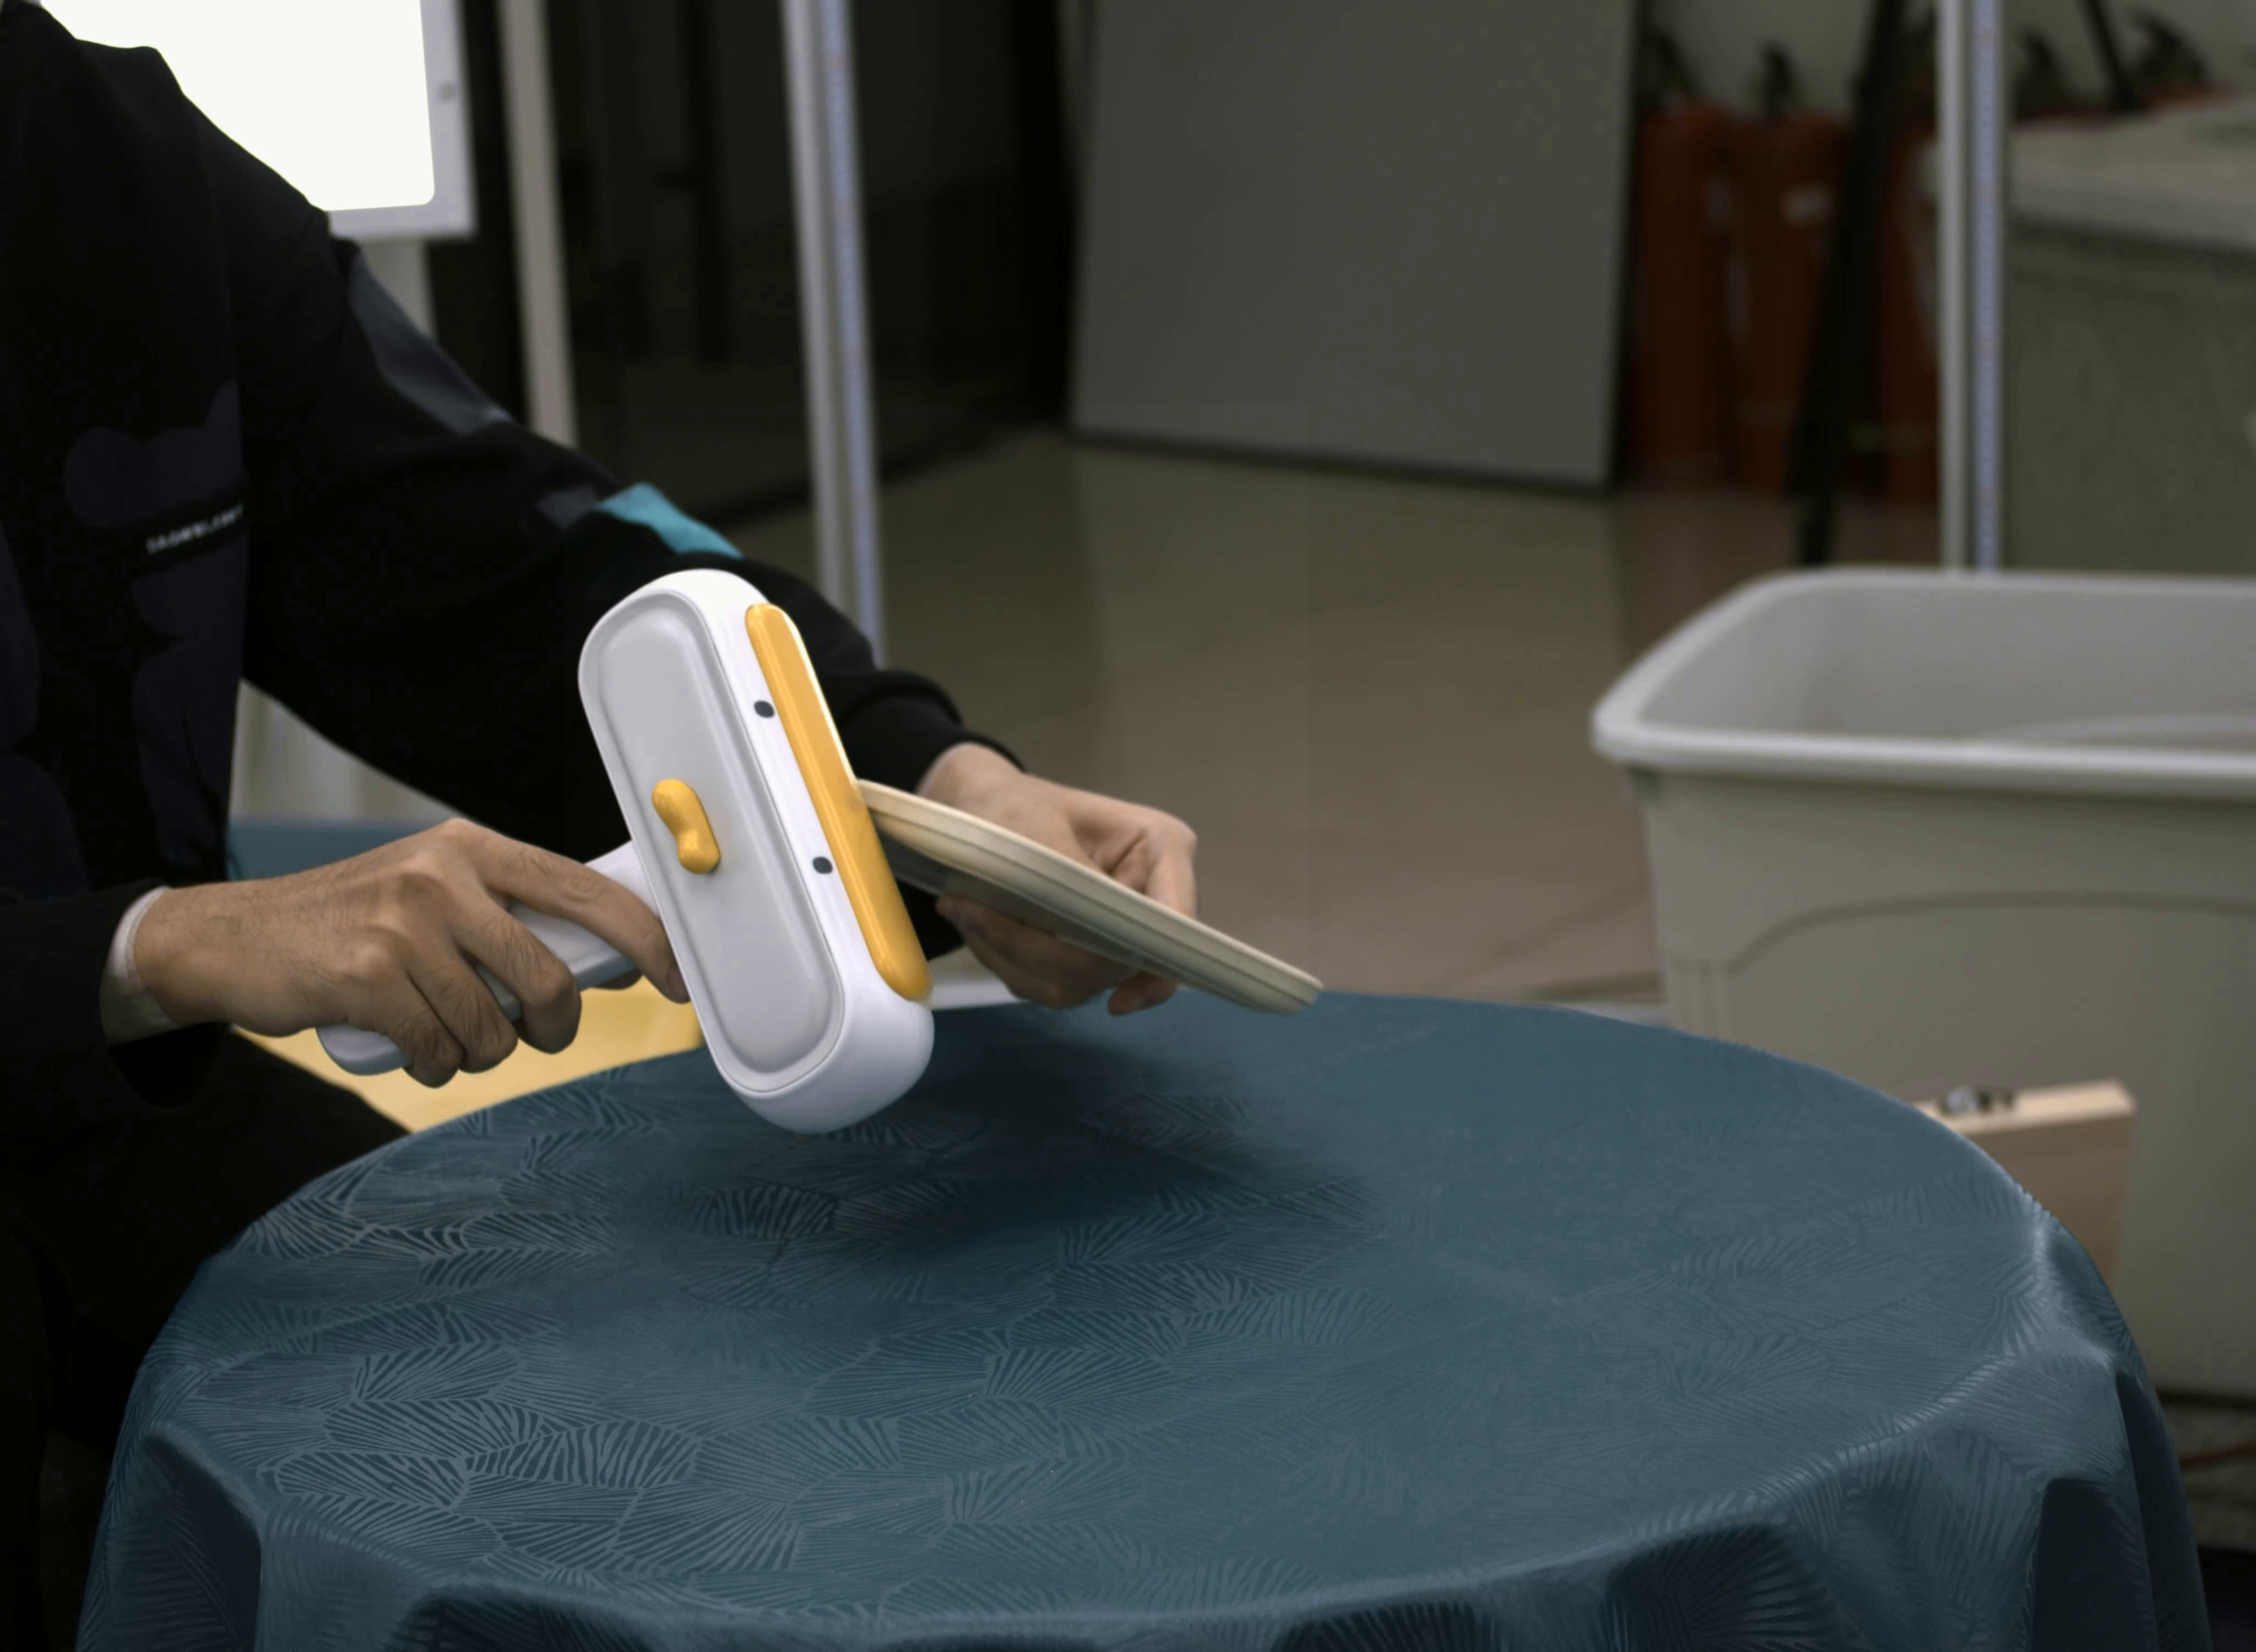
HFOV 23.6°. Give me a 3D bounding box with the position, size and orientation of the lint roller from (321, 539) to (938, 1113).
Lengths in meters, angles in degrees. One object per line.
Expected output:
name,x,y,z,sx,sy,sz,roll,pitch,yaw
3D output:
lint roller,-0.171,0.029,1.732,0.193,0.195,0.073,-34,-21,16

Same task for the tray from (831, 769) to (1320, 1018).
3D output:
tray,-0.056,0.013,1.812,0.168,0.017,0.242,27,-5,-37
